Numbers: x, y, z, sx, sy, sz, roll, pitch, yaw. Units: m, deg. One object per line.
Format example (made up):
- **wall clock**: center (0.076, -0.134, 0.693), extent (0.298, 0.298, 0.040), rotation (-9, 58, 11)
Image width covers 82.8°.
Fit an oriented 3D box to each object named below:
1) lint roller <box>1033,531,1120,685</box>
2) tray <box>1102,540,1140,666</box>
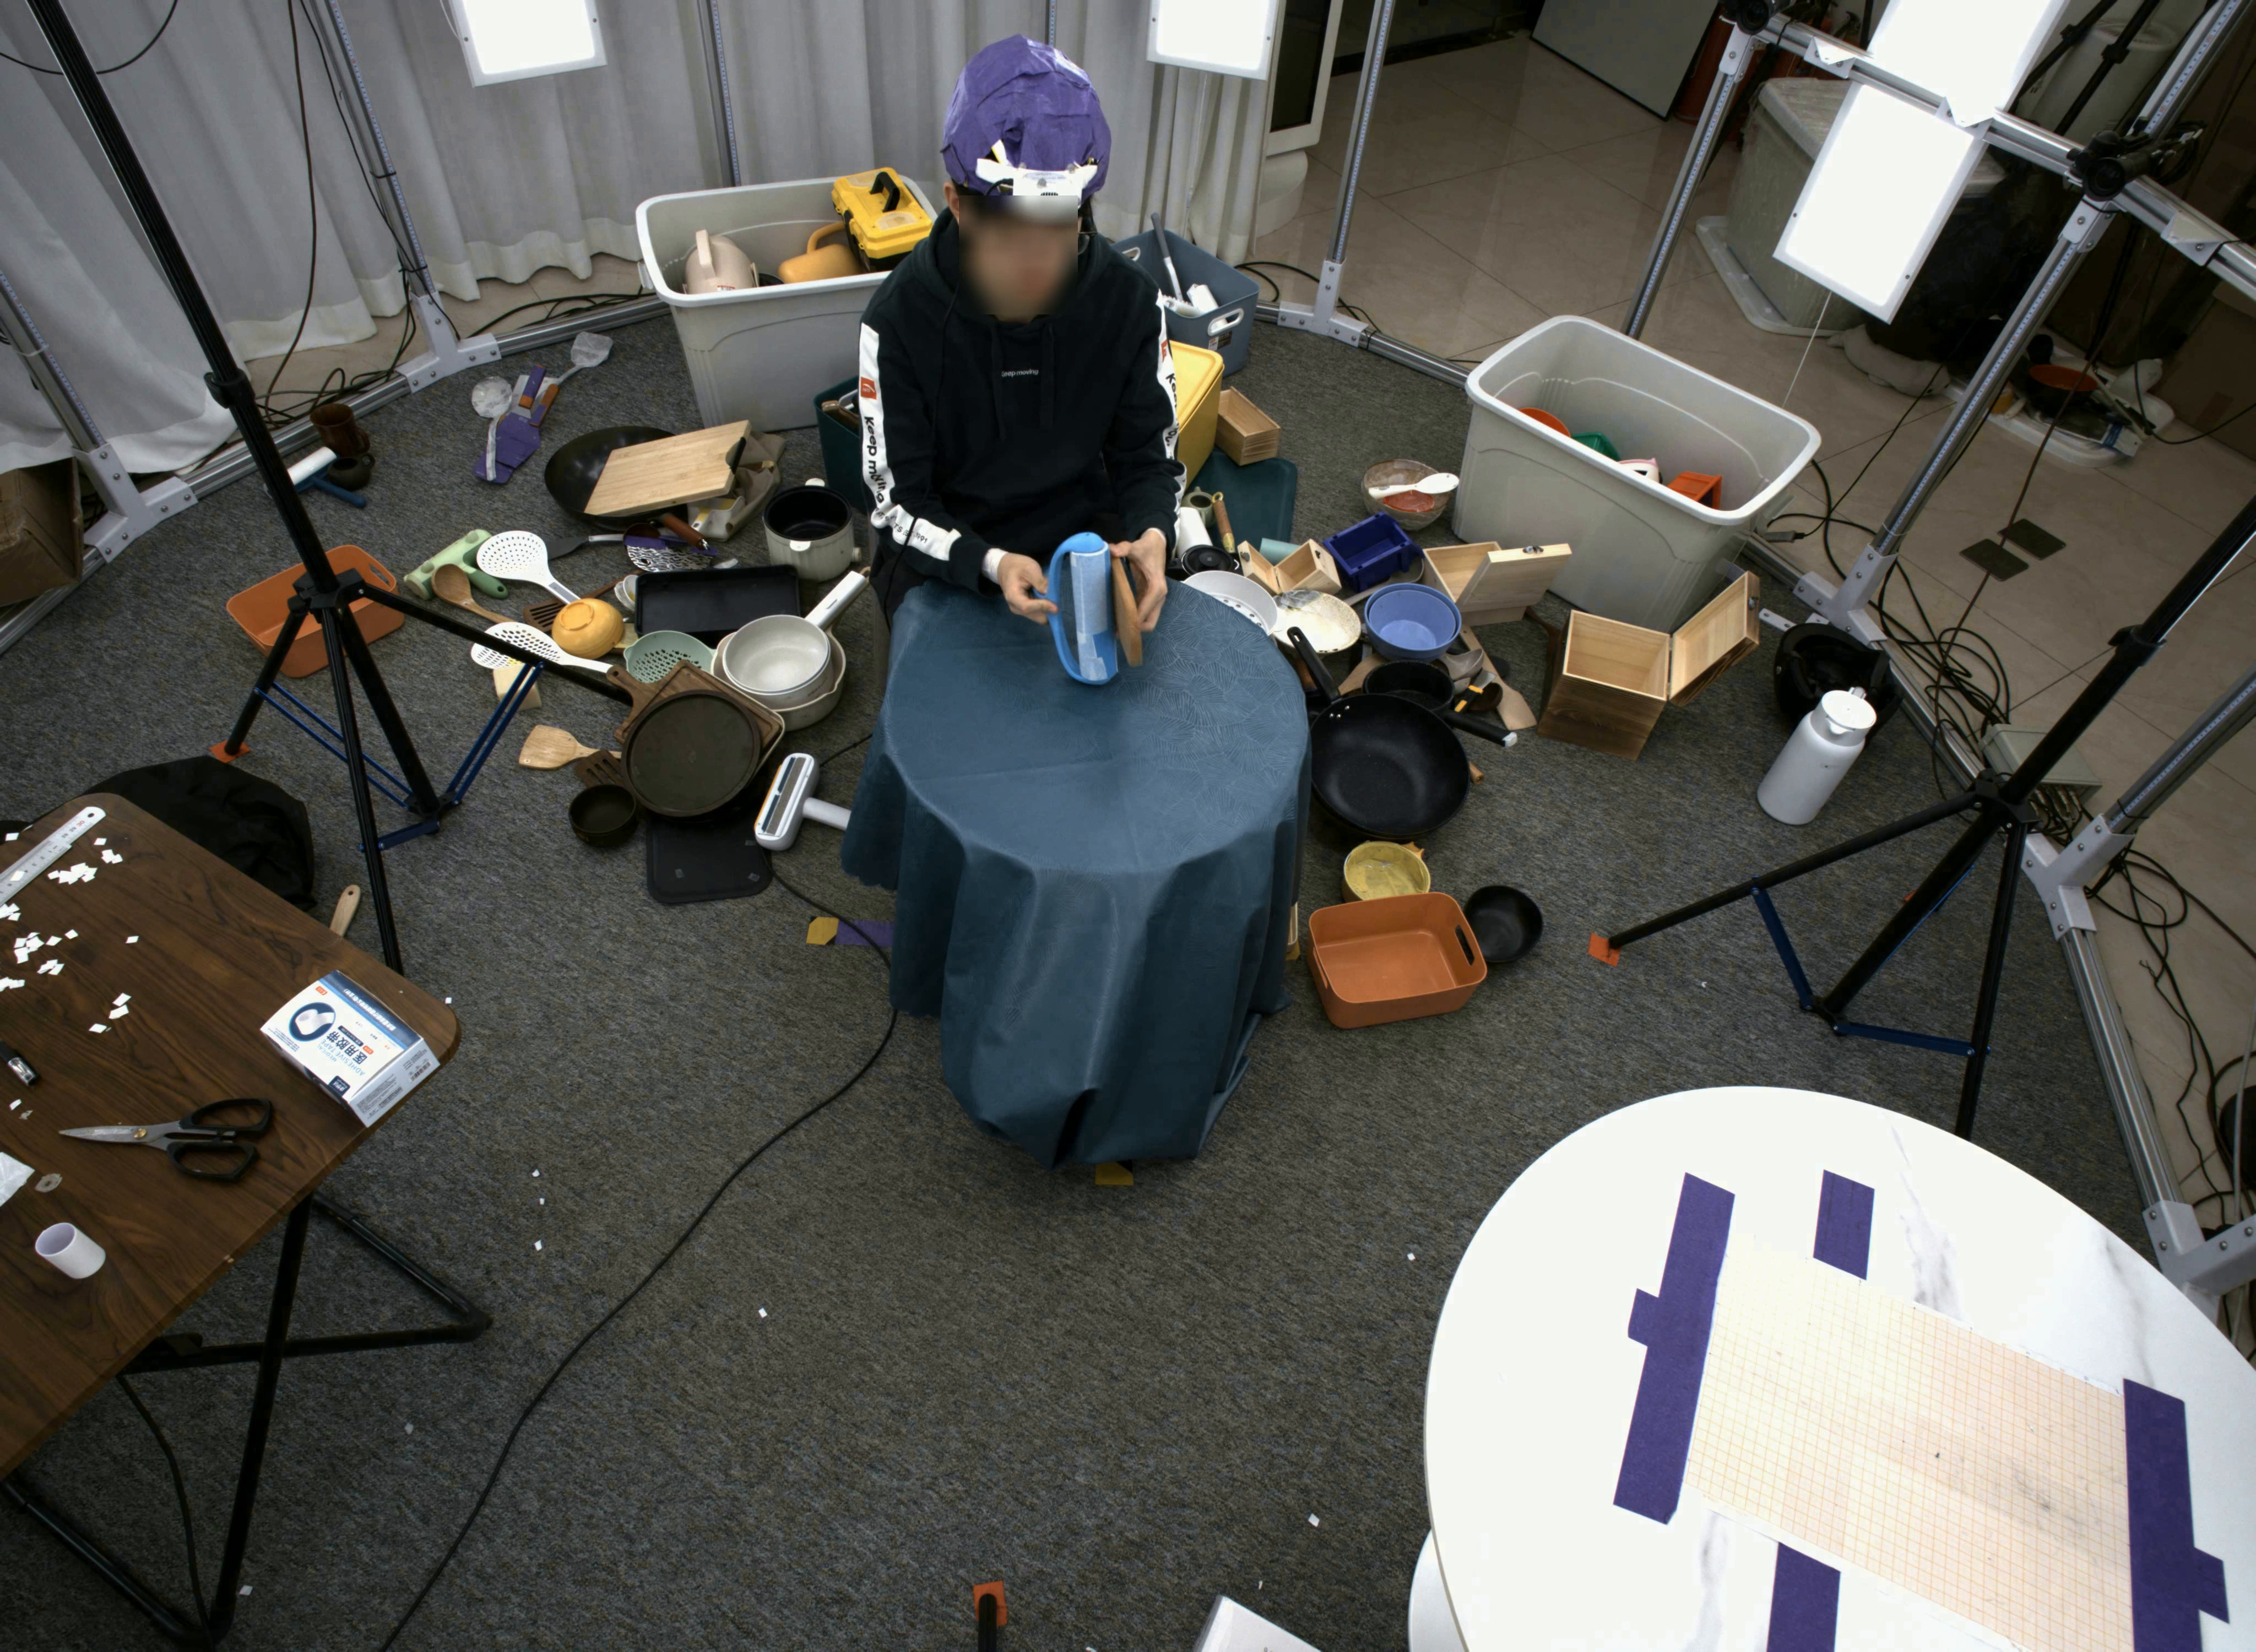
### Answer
- **lint roller**: center (-0.088, -0.318, 1.815), extent (0.068, 0.224, 0.183), rotation (-33, 41, -32)
- **tray**: center (-0.011, -0.306, 1.755), extent (0.020, 0.099, 0.237), rotation (-9, 41, -7)
